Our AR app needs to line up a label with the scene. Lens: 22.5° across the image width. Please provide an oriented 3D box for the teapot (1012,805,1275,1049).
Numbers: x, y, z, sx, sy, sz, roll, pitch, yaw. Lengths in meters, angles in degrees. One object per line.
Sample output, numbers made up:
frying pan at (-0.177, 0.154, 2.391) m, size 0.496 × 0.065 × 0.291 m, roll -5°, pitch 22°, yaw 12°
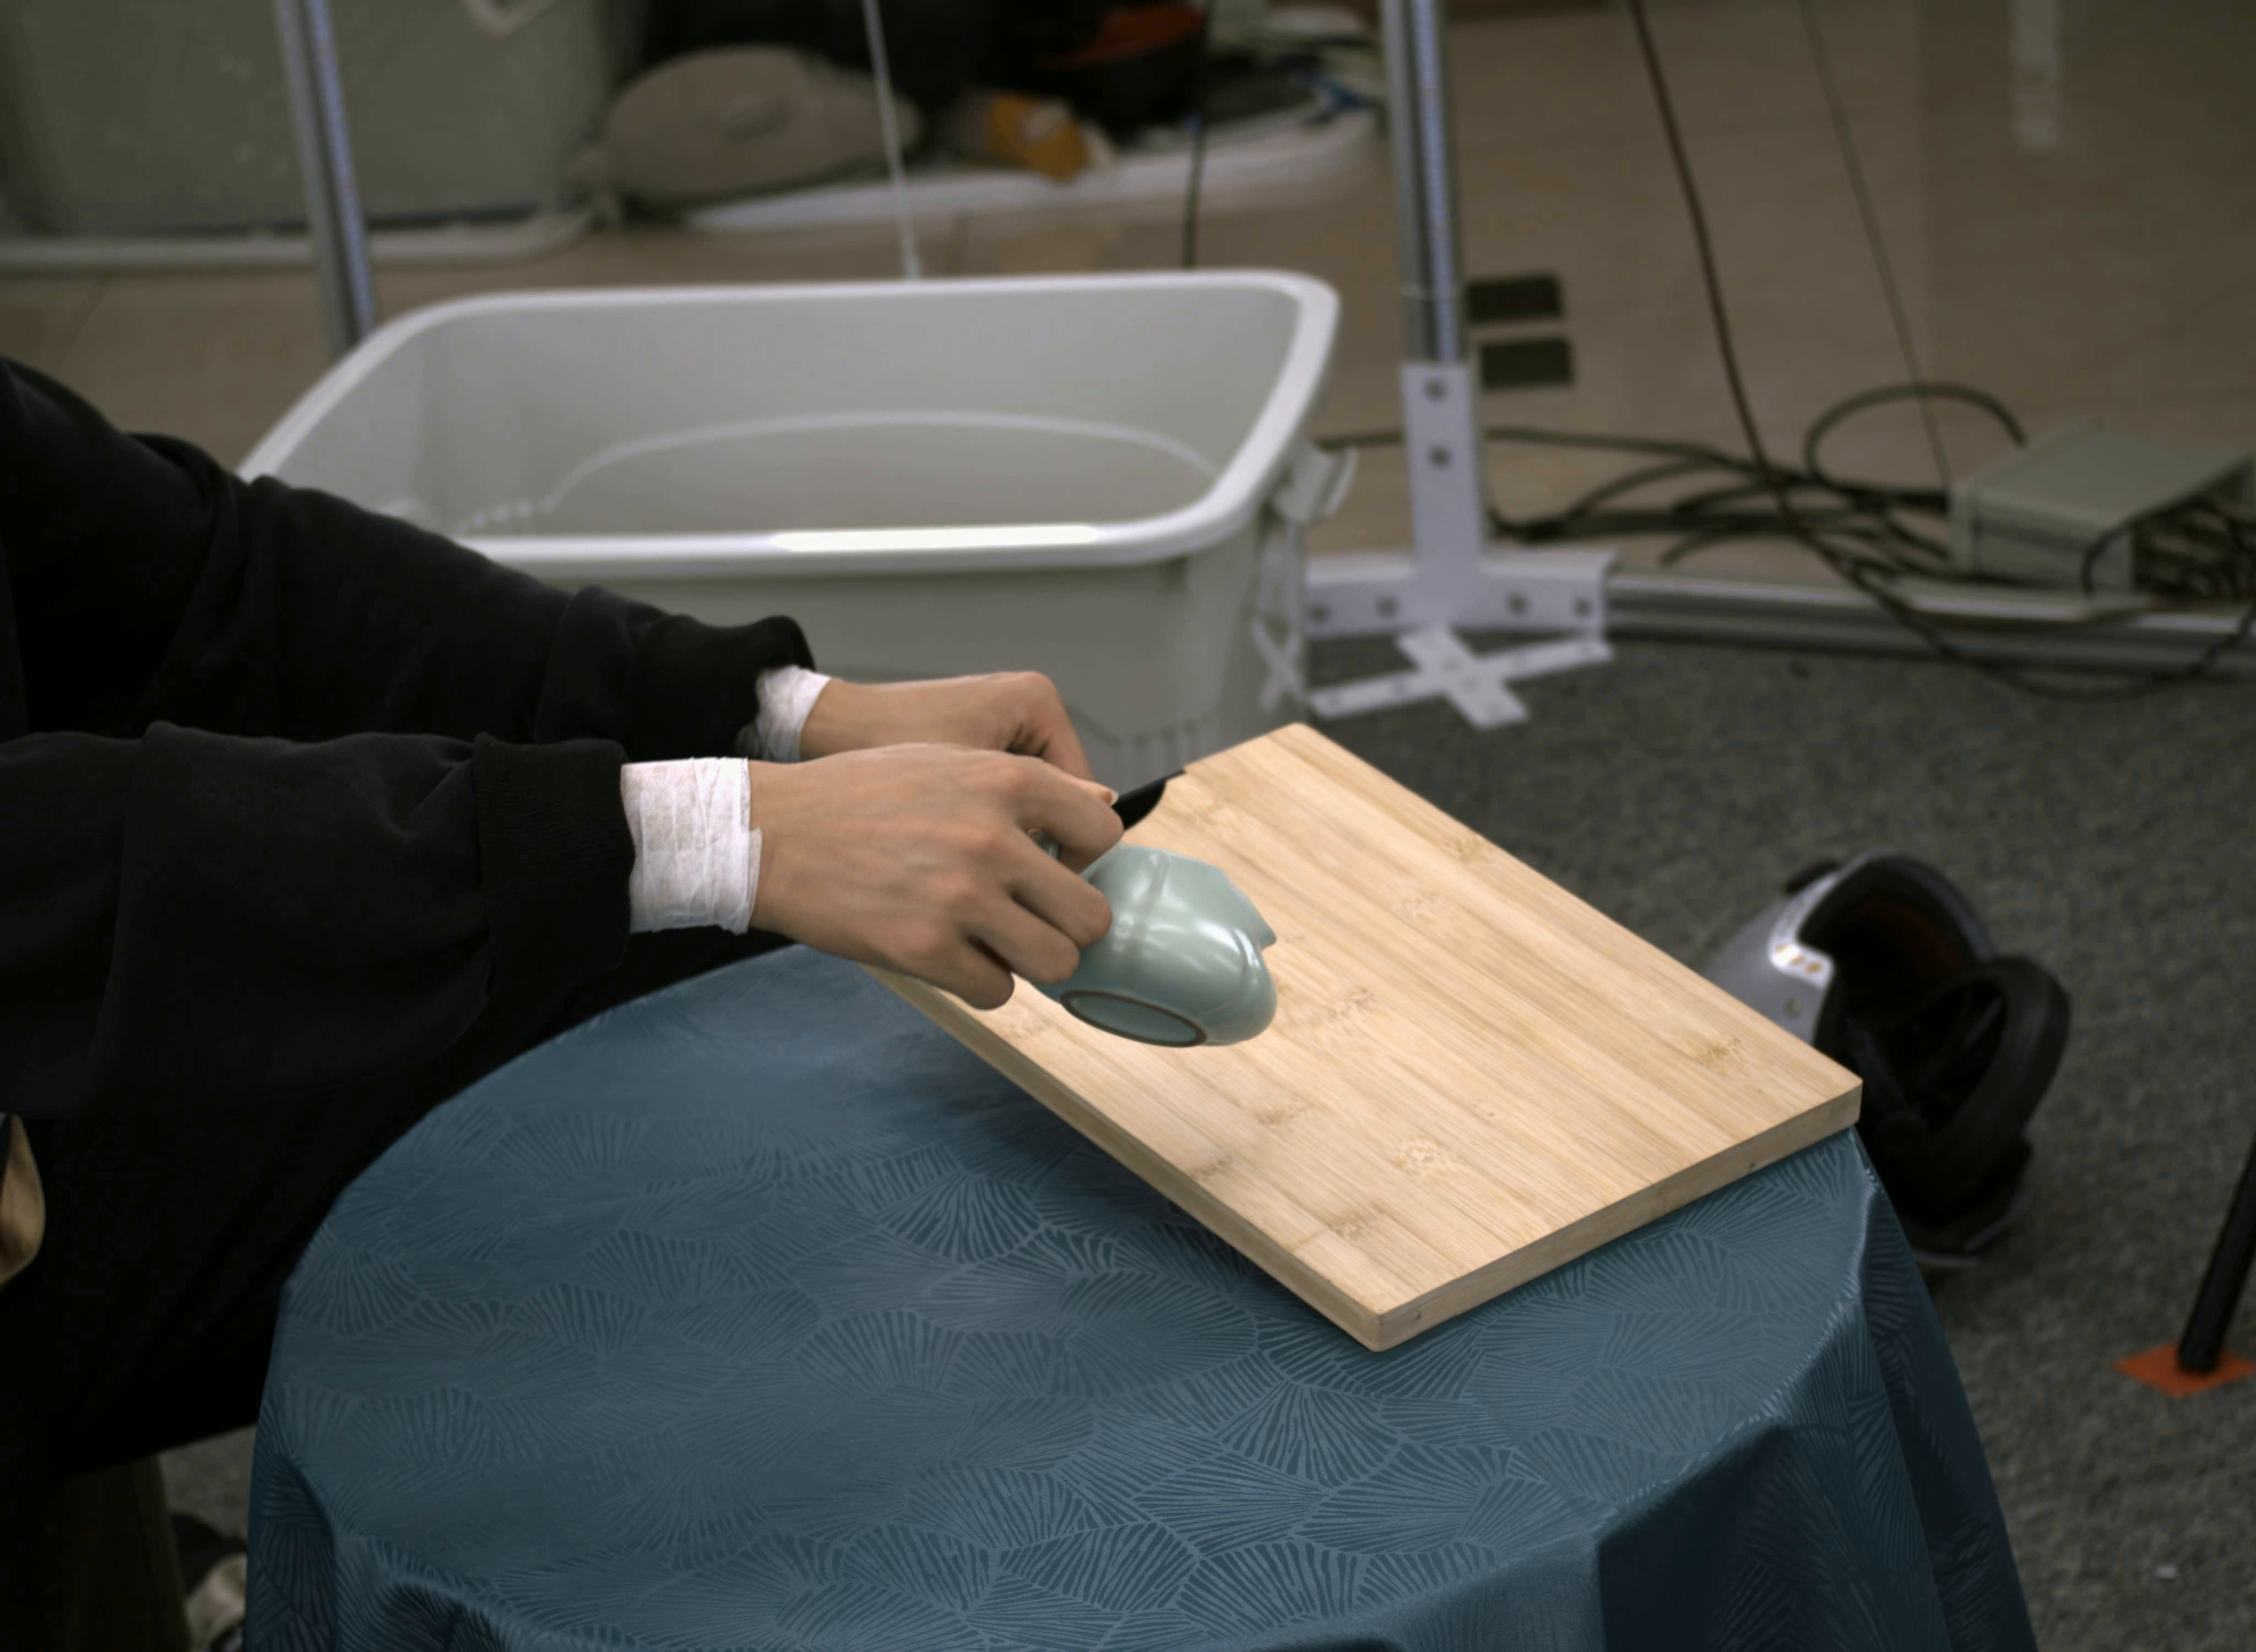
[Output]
teapot at (0.007, 0.041, 2.026) m, size 0.096 × 0.138 × 0.061 m, roll 5°, pitch 71°, yaw 37°

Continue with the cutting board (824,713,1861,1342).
cutting board at (0.077, 0.071, 2.194) m, size 0.249 × 0.024 × 0.344 m, roll -23°, pitch 39°, yaw -32°
